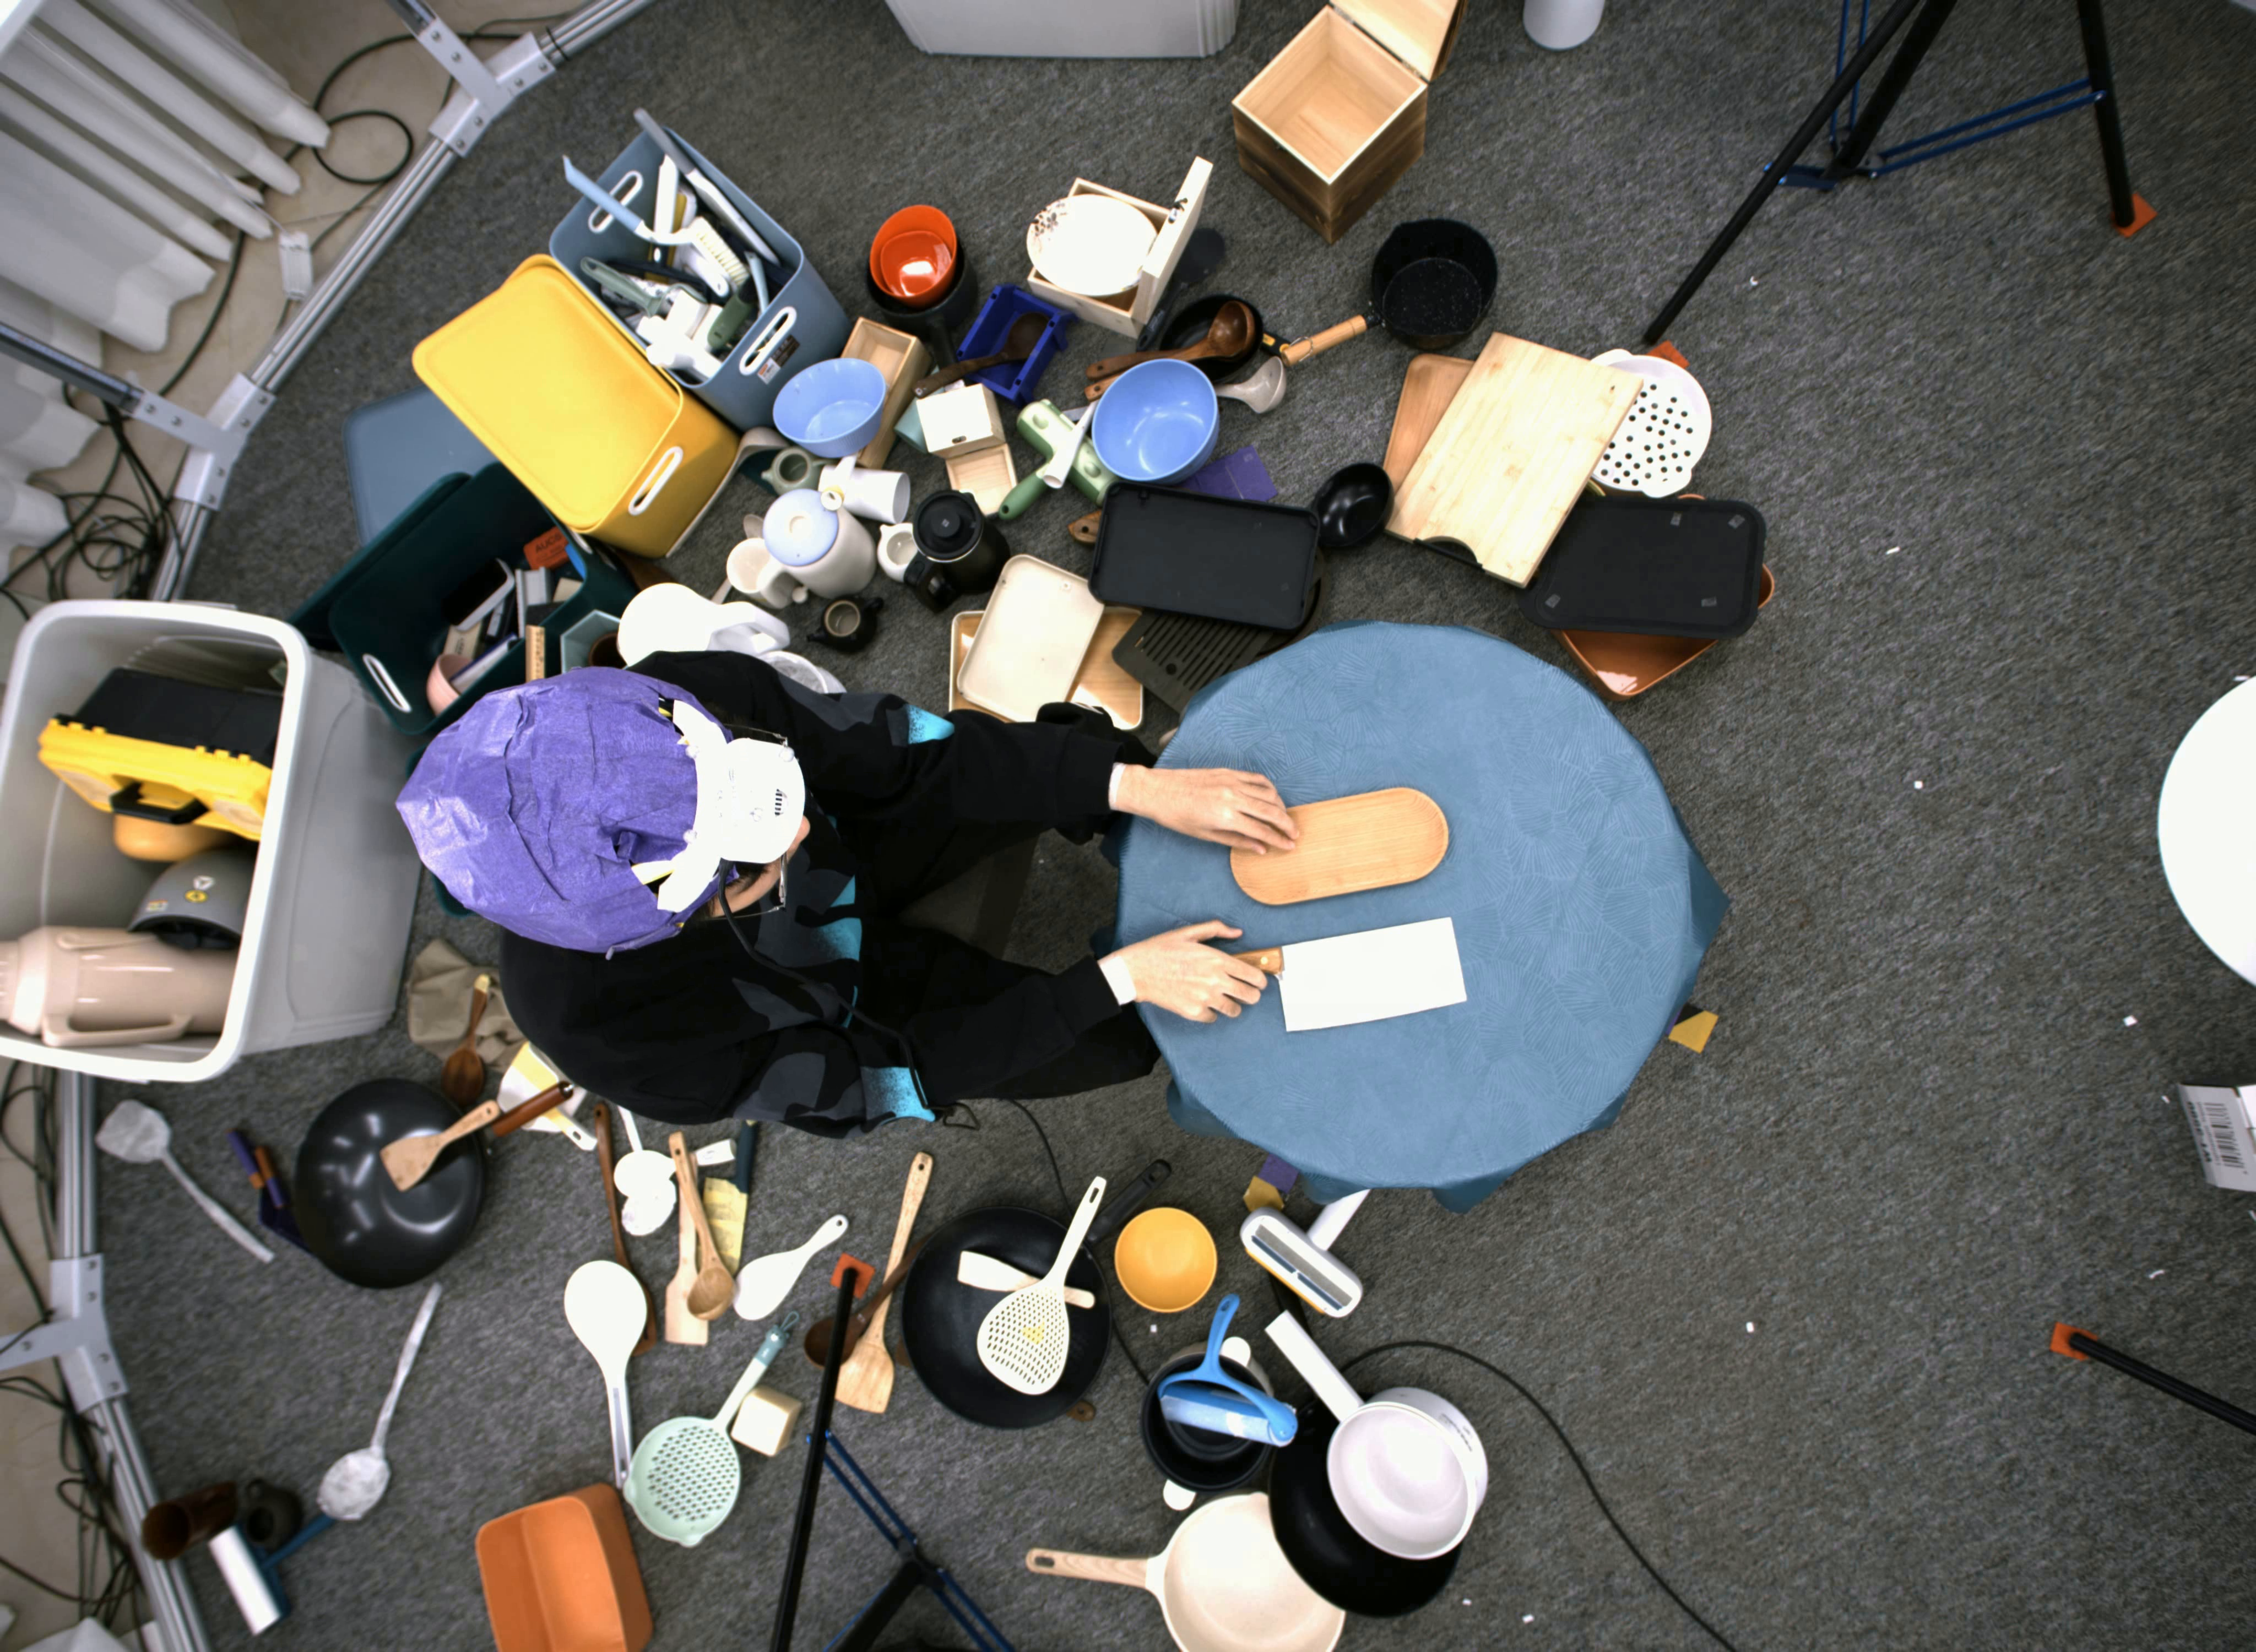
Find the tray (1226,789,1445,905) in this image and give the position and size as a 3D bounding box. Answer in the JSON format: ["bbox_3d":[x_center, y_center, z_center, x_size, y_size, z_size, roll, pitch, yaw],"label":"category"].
[{"bbox_3d":[0.219,0.022,1.463,0.232,0.020,0.101,-11,84,11],"label":"tray"}]

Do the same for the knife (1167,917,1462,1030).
[{"bbox_3d":[0.197,0.163,1.461,0.307,0.021,0.092,-11,86,7],"label":"knife"}]
